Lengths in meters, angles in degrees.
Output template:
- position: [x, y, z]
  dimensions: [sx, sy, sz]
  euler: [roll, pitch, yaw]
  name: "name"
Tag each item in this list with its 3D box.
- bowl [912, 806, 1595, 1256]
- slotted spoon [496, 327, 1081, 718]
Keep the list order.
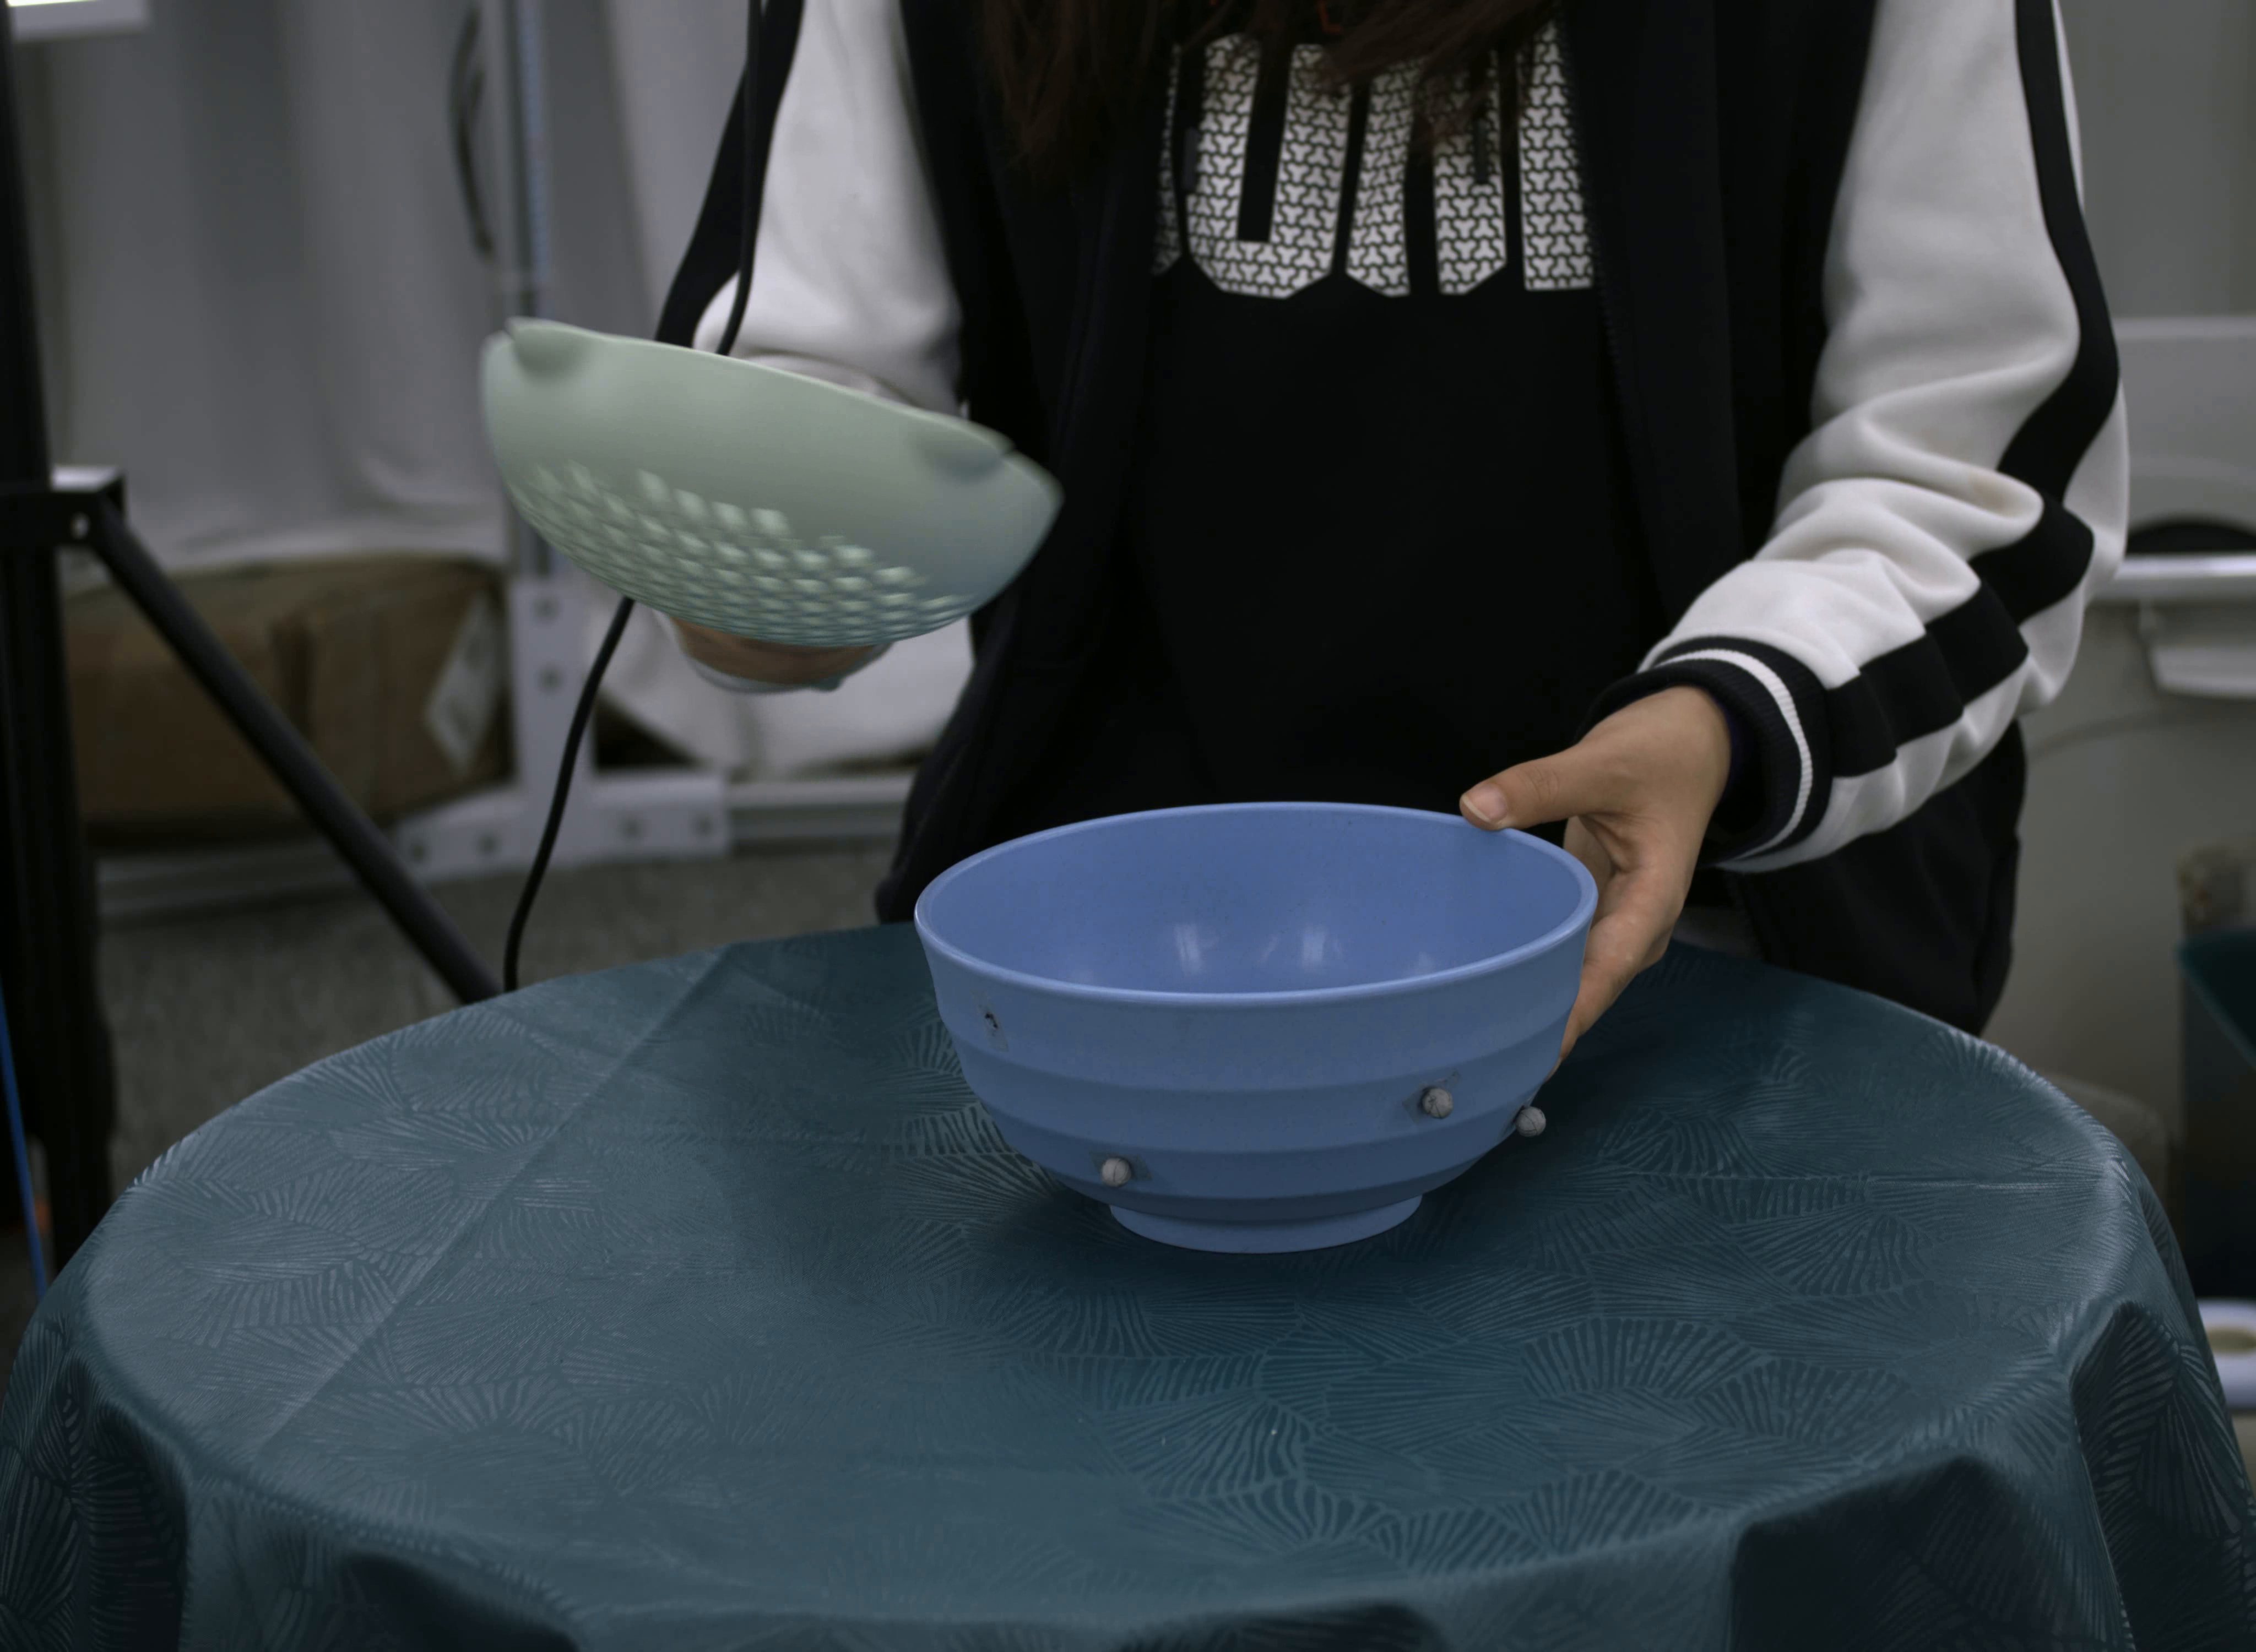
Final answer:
- position: [0.038, 0.064, 1.532]
  dimensions: [0.195, 0.095, 0.197]
  euler: [-3, 15, -1]
  name: "bowl"
- position: [-0.099, -0.082, 1.612]
  dimensions: [0.169, 0.076, 0.357]
  euler: [12, -2, 2]
  name: "slotted spoon"
